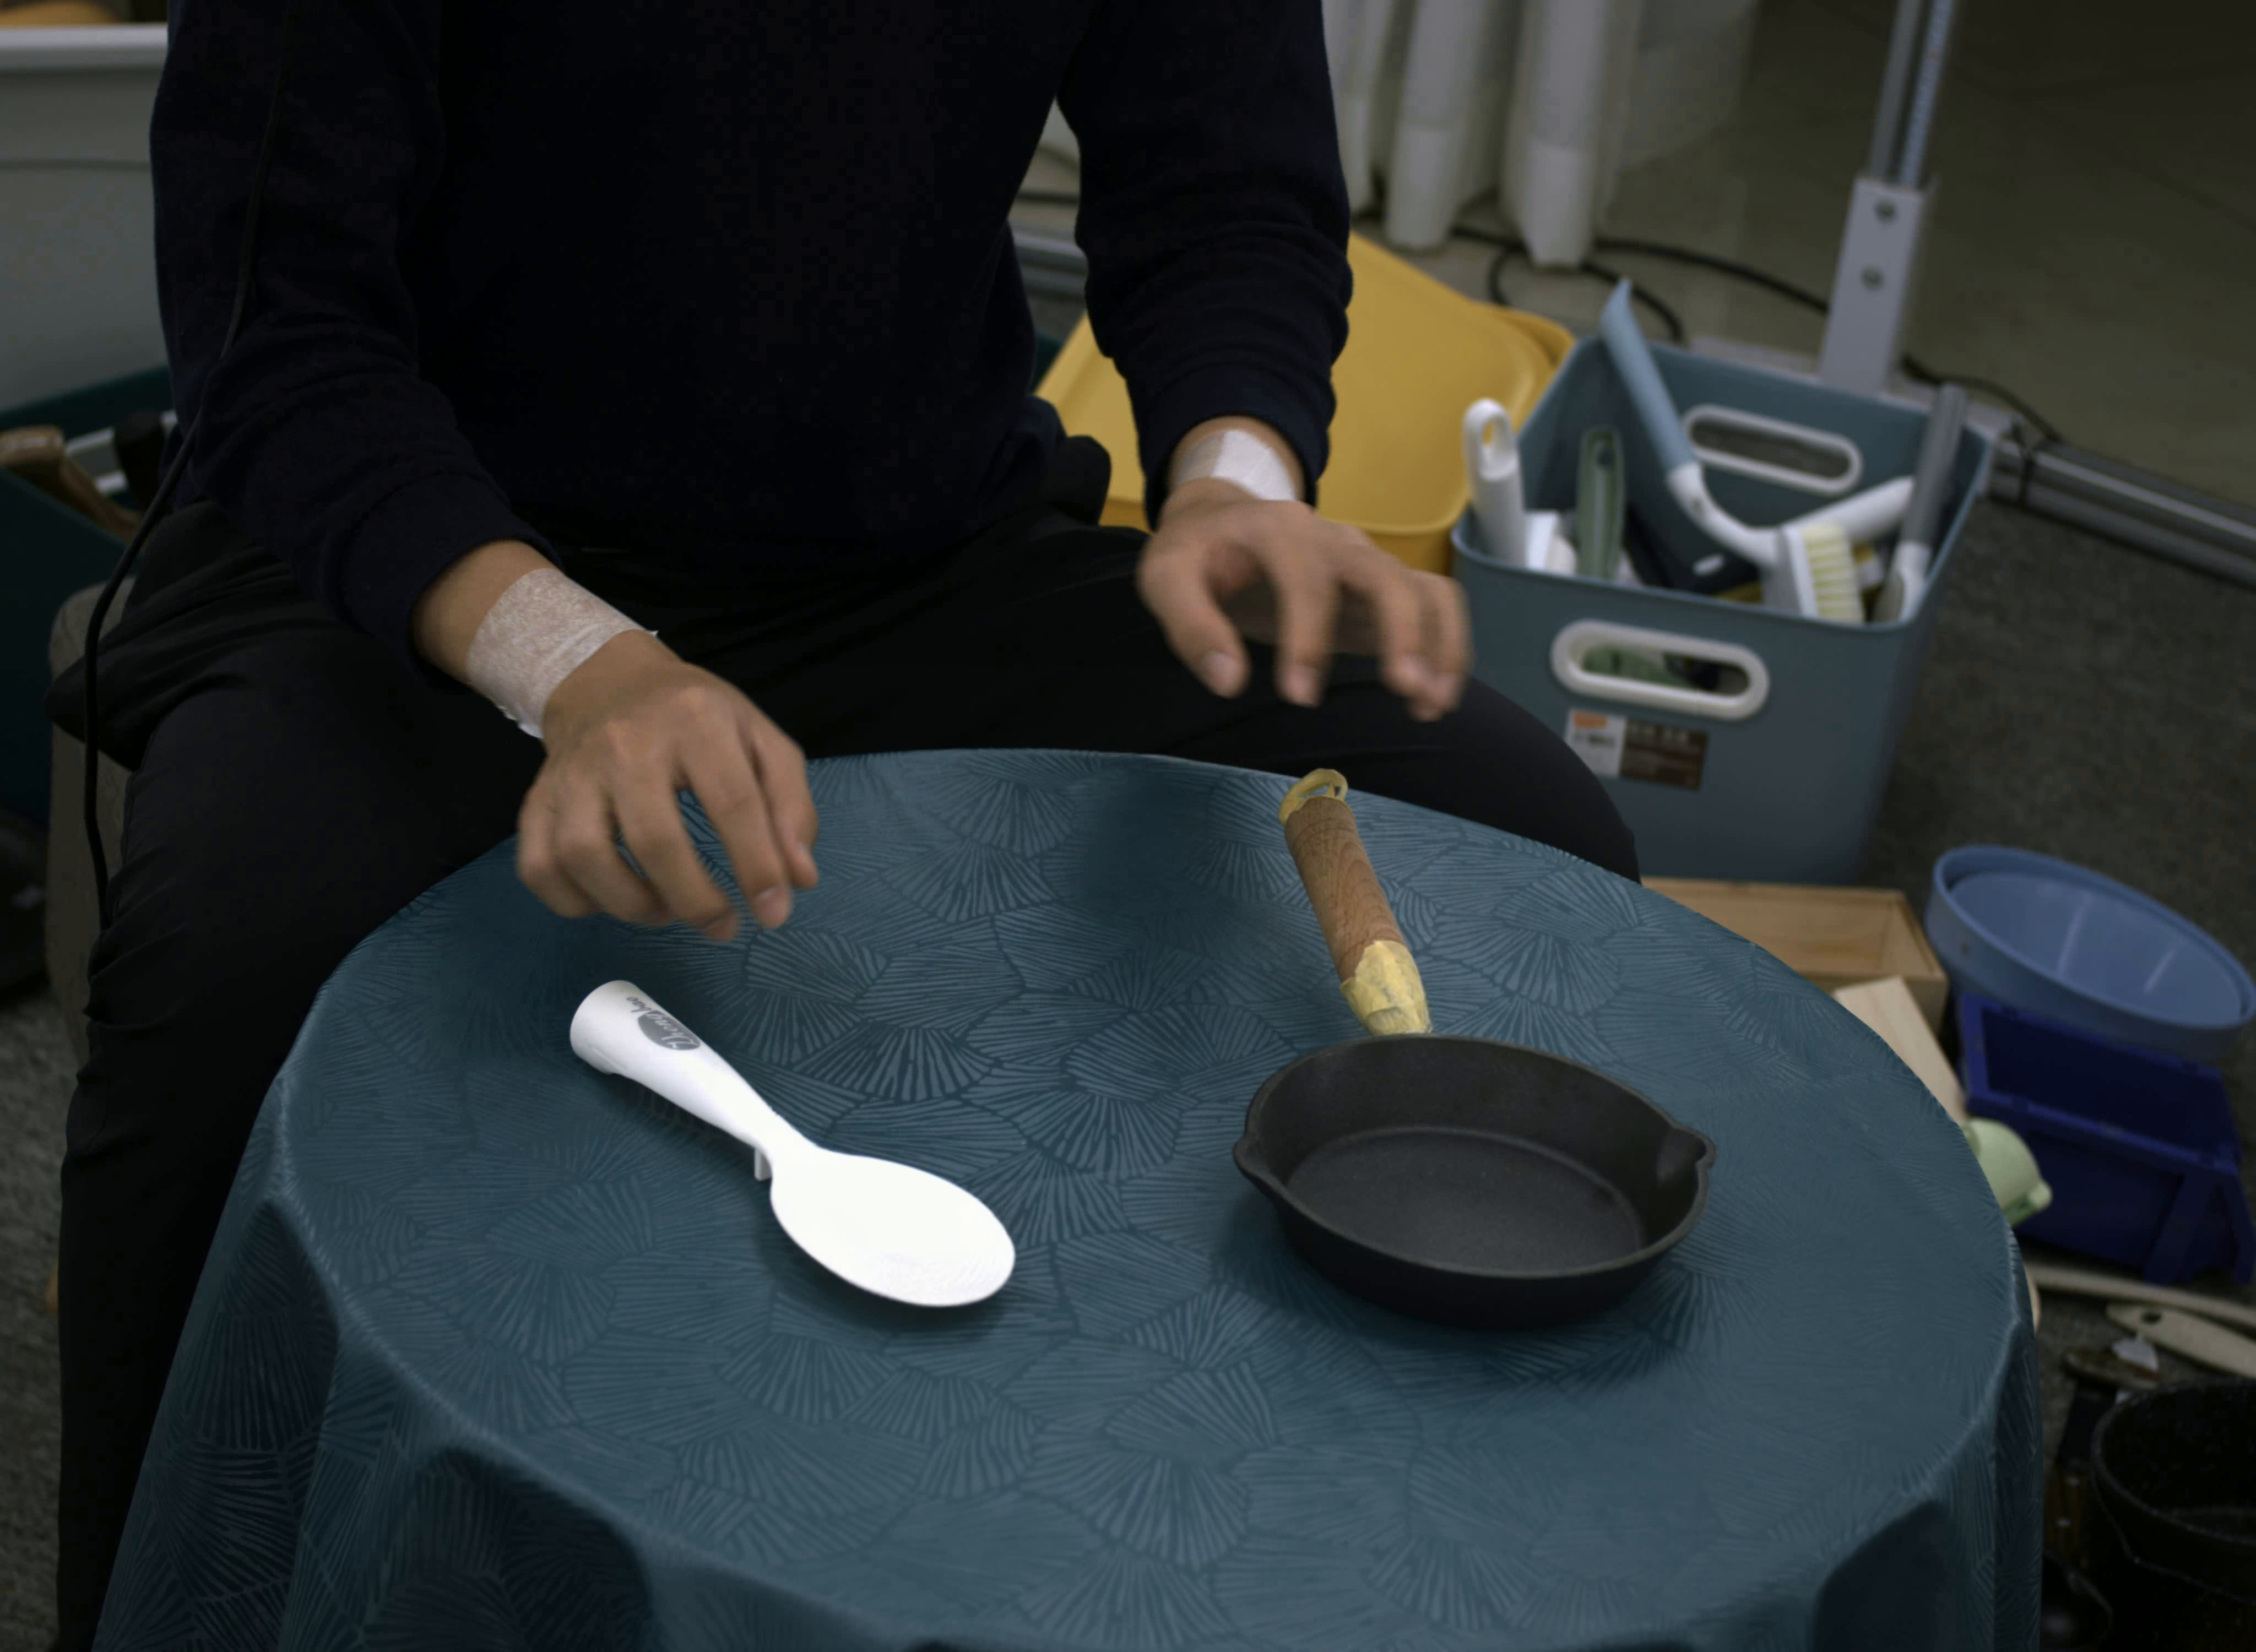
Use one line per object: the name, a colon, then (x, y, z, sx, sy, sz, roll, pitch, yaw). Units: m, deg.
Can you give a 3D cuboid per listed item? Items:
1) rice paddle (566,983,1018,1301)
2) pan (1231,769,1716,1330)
rice paddle: (-0.114, 0.107, 1.777, 0.068, 0.029, 0.207, -20, 37, -38)
pan: (0.100, 0.075, 1.864, 0.168, 0.049, 0.327, 0, 29, -12)
